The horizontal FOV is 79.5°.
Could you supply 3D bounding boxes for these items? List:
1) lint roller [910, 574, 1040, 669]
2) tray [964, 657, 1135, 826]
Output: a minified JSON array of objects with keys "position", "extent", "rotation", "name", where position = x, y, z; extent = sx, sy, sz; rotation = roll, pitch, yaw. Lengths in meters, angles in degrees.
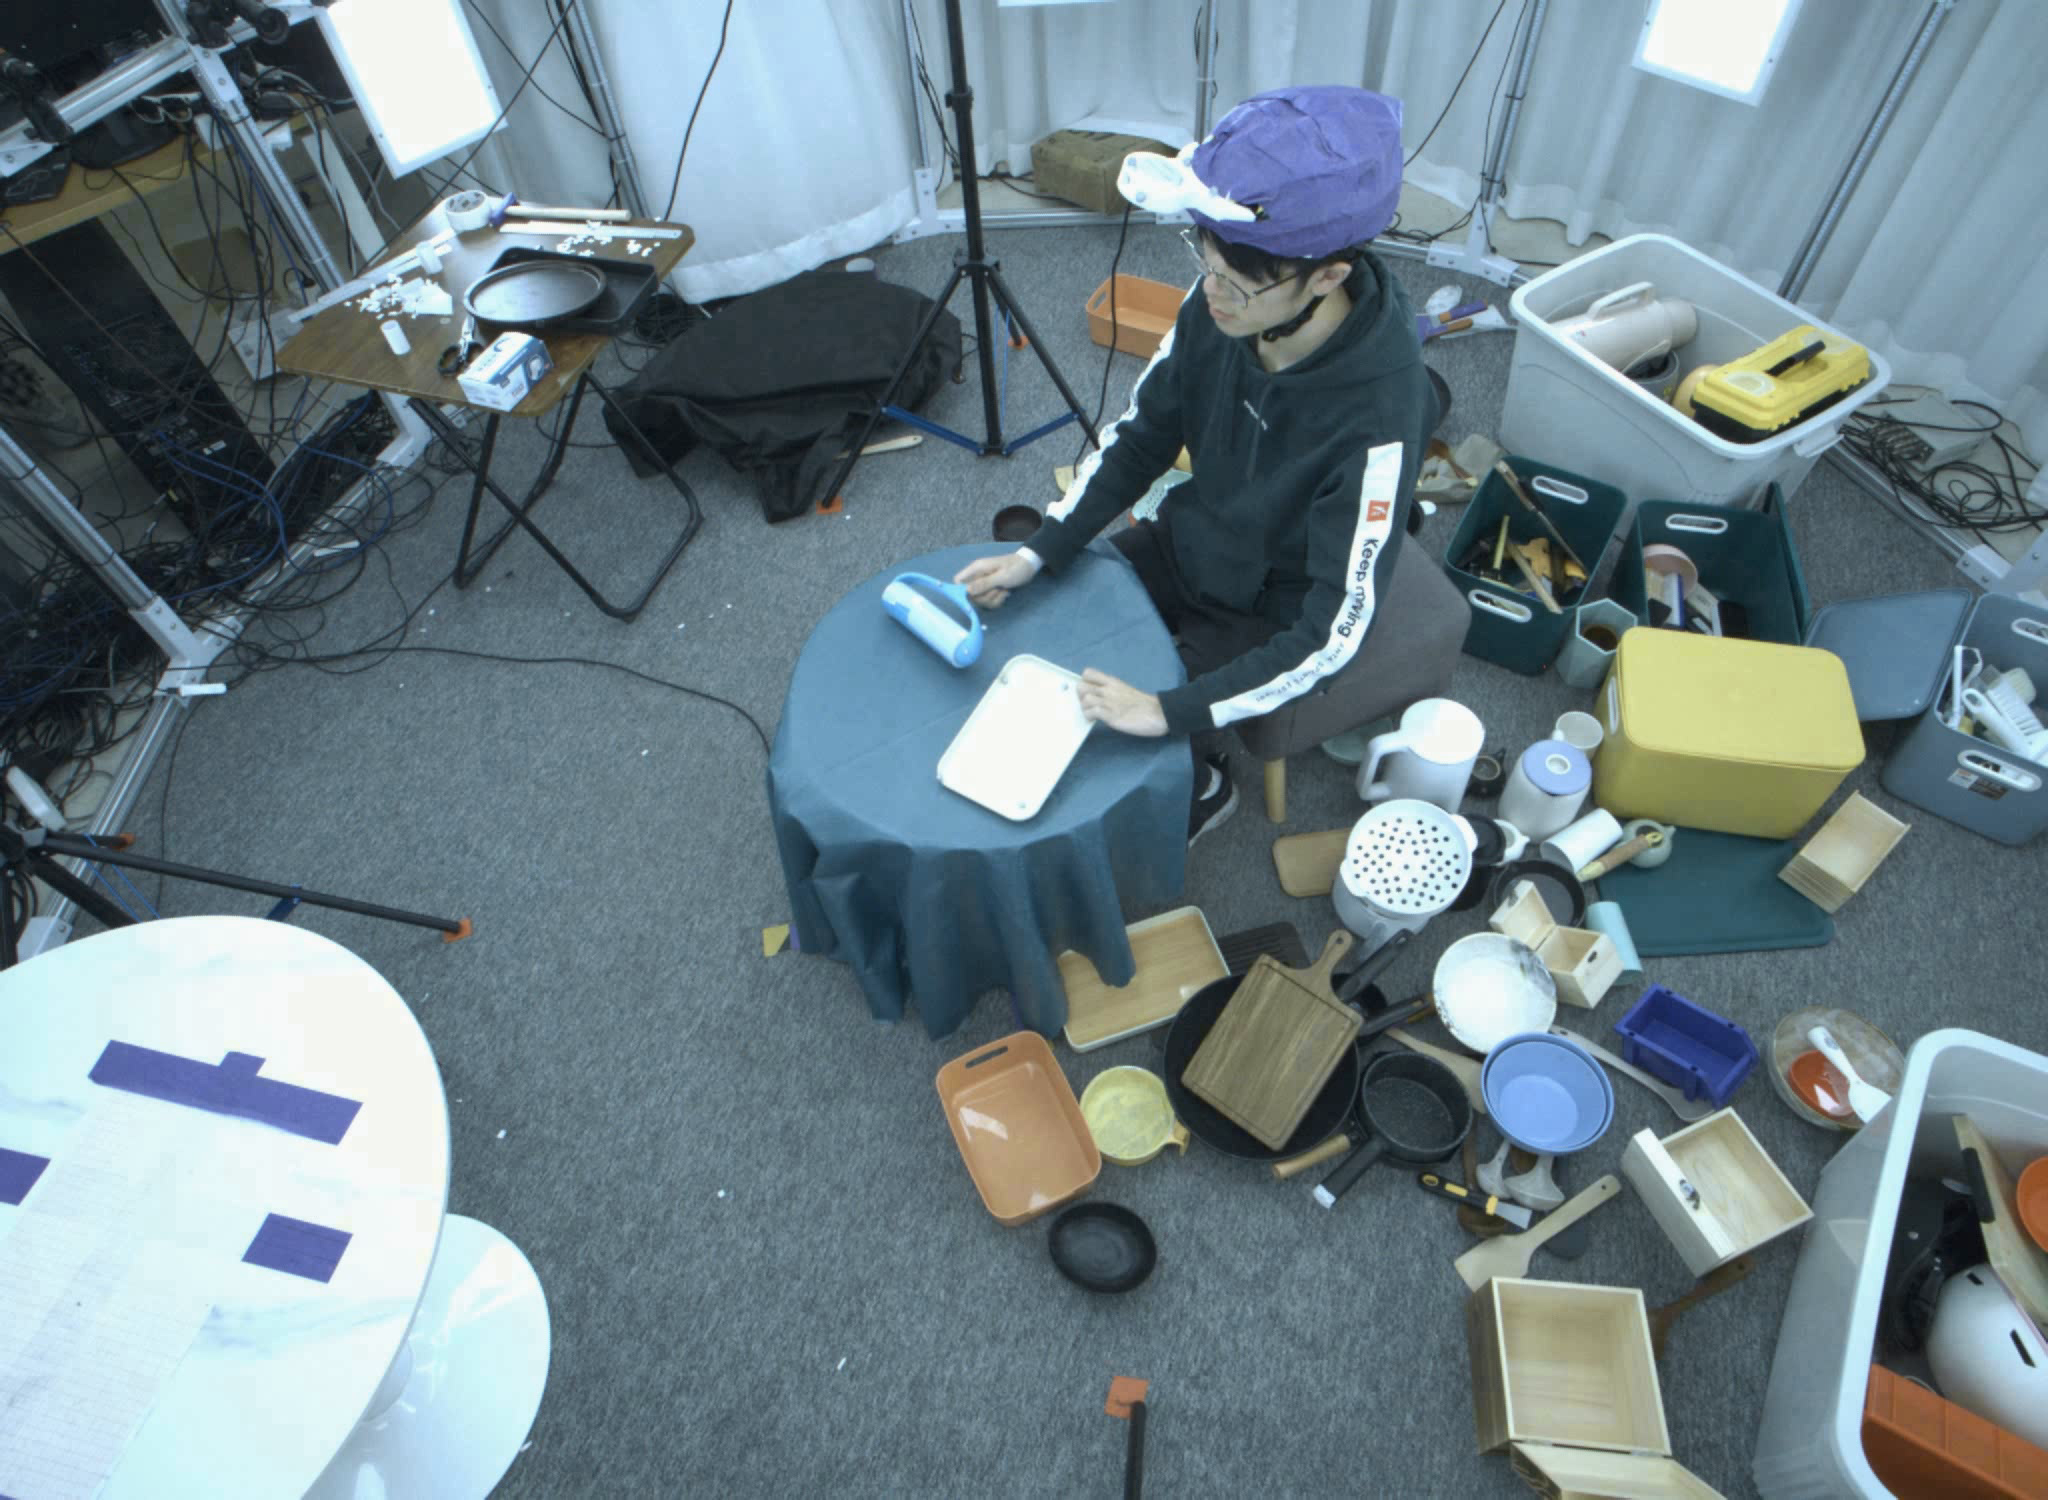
[{"position":[-0.054,-0.222,1.894],"extent":[0.182,0.069,0.224],"rotation":[-33,49,-24],"name":"lint roller"},{"position":[0.038,-0.014,1.752],"extent":[0.168,0.018,0.240],"rotation":[28,72,22],"name":"tray"}]
